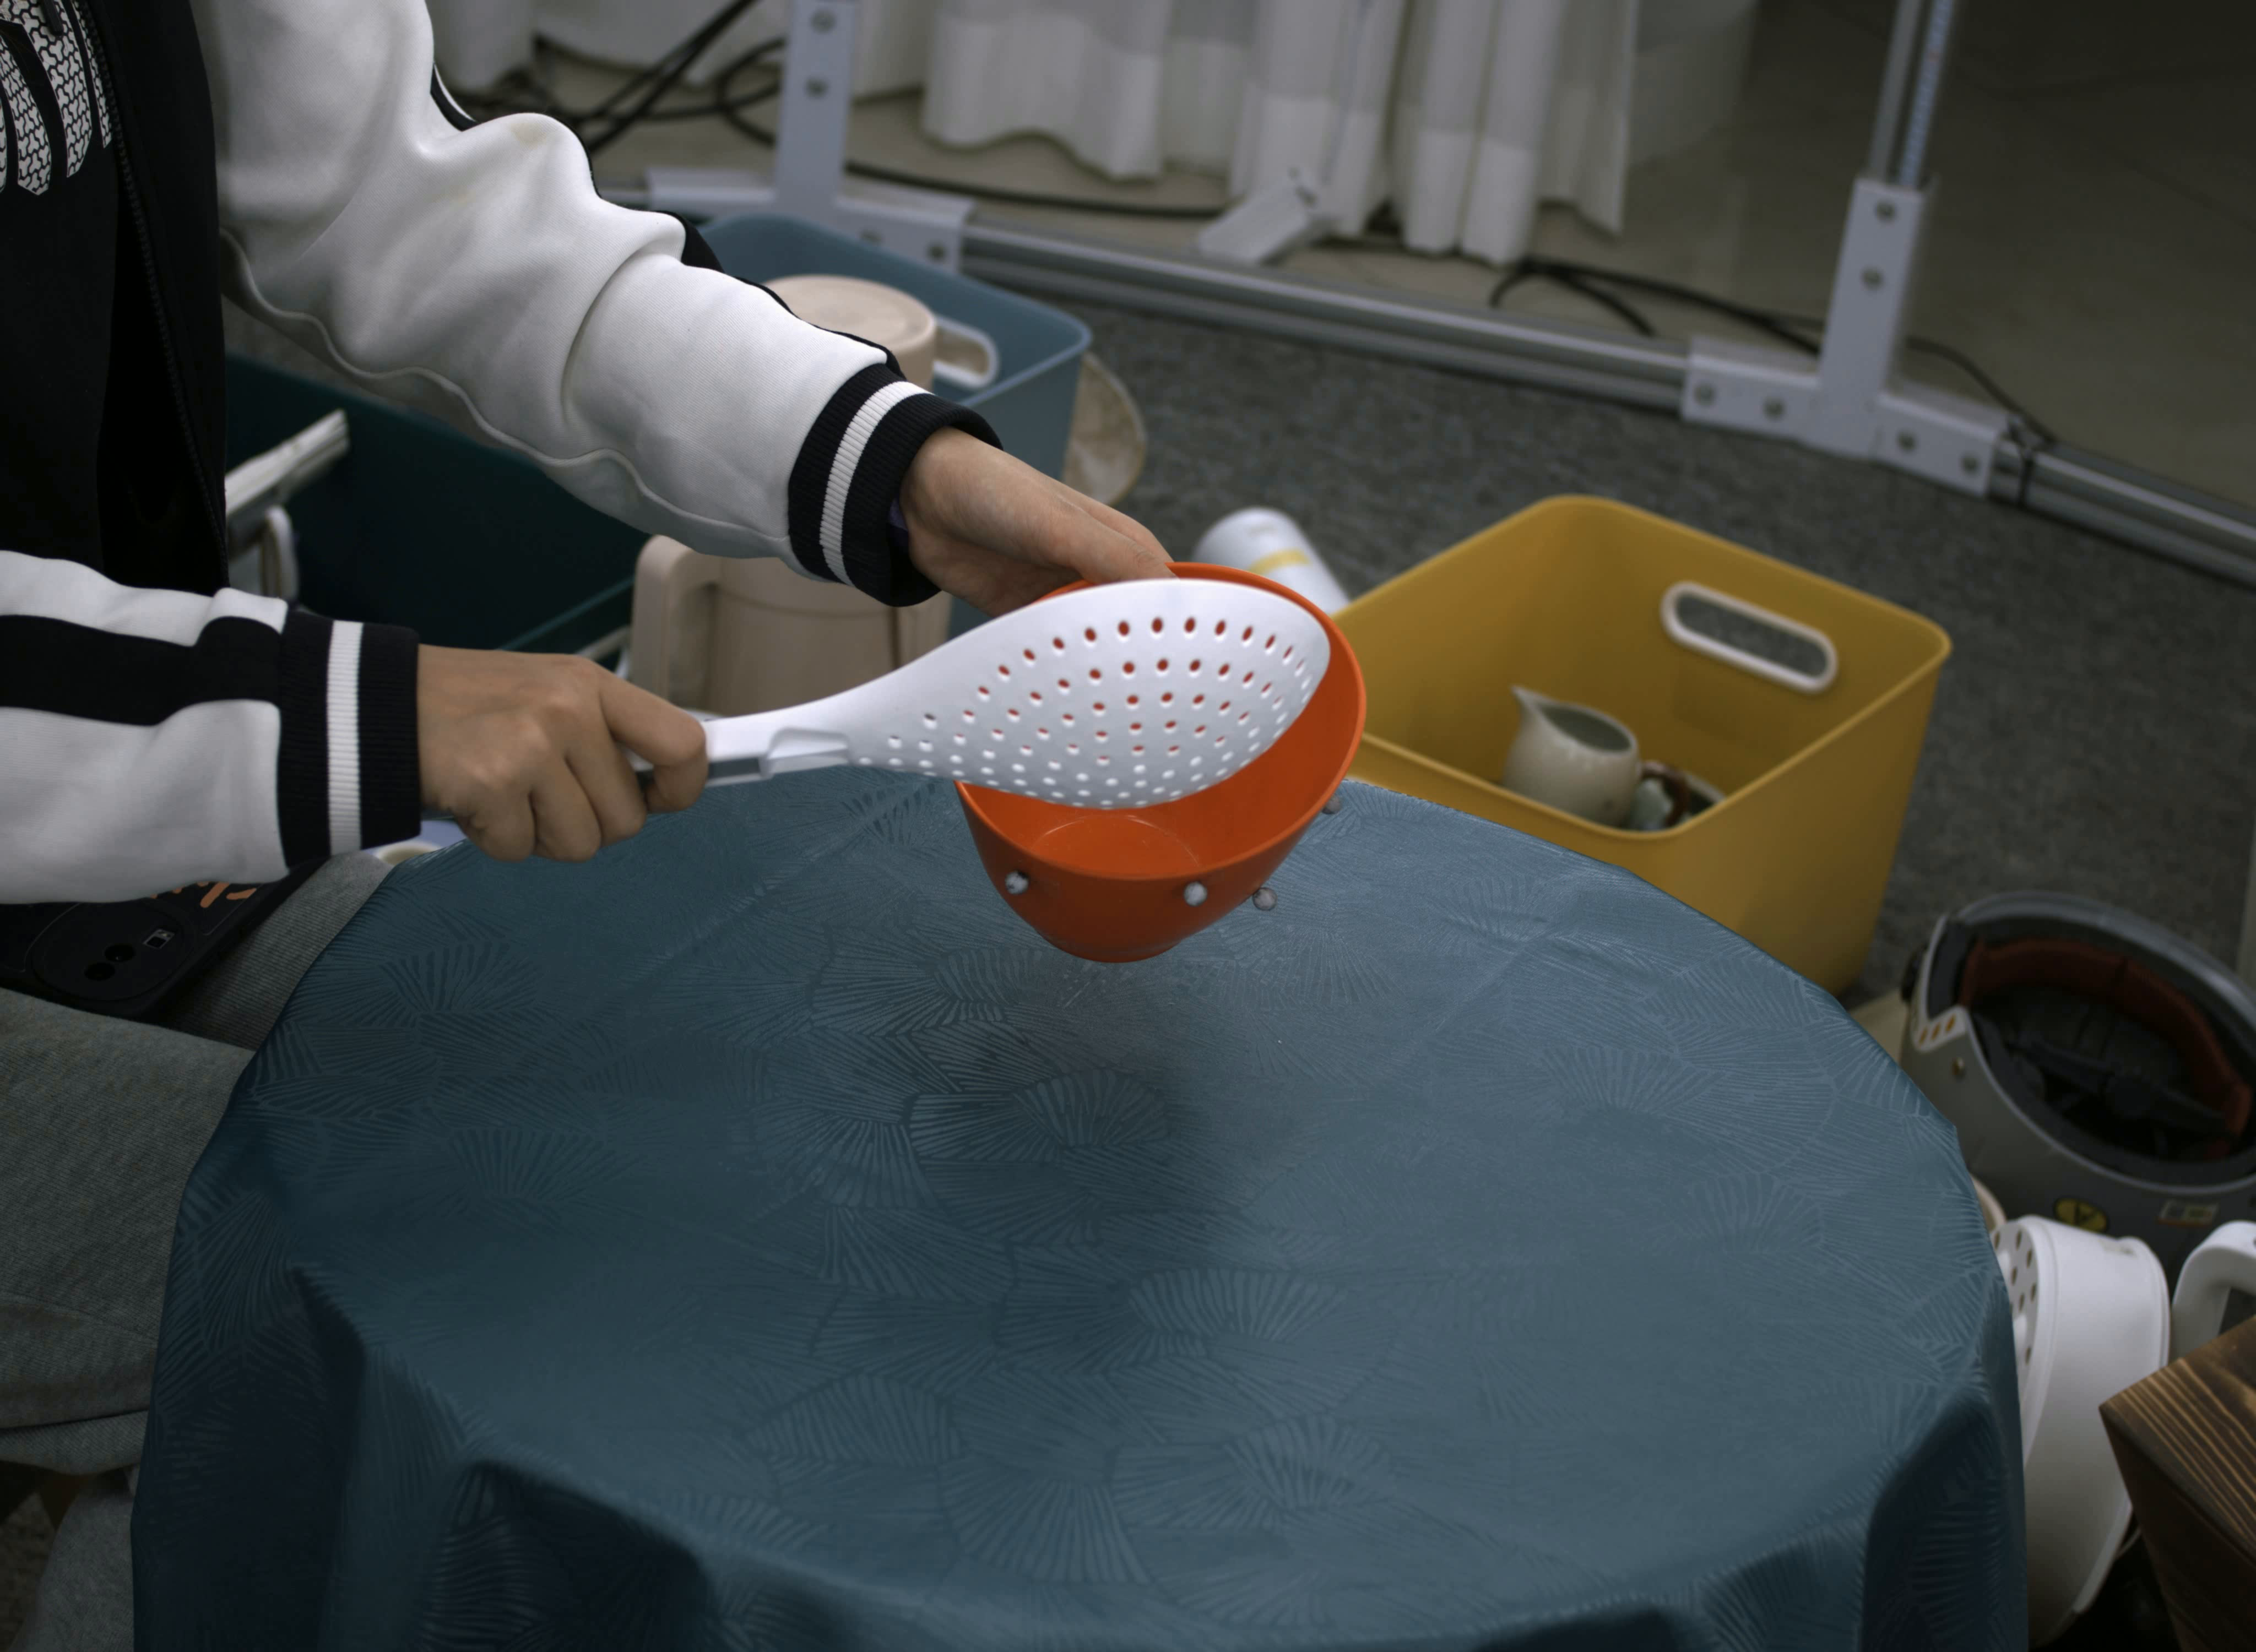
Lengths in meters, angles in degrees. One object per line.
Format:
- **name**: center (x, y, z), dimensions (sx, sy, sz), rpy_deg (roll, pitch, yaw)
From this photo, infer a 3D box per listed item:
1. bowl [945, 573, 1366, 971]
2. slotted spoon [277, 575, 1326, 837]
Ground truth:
- **bowl**: center (0.008, -0.008, 1.893), dimensions (0.147, 0.104, 0.149), rpy_deg (1, 46, -1)
- **slotted spoon**: center (-0.108, -0.029, 1.761), dimensions (0.349, 0.135, 0.046), rpy_deg (-3, 64, 2)
